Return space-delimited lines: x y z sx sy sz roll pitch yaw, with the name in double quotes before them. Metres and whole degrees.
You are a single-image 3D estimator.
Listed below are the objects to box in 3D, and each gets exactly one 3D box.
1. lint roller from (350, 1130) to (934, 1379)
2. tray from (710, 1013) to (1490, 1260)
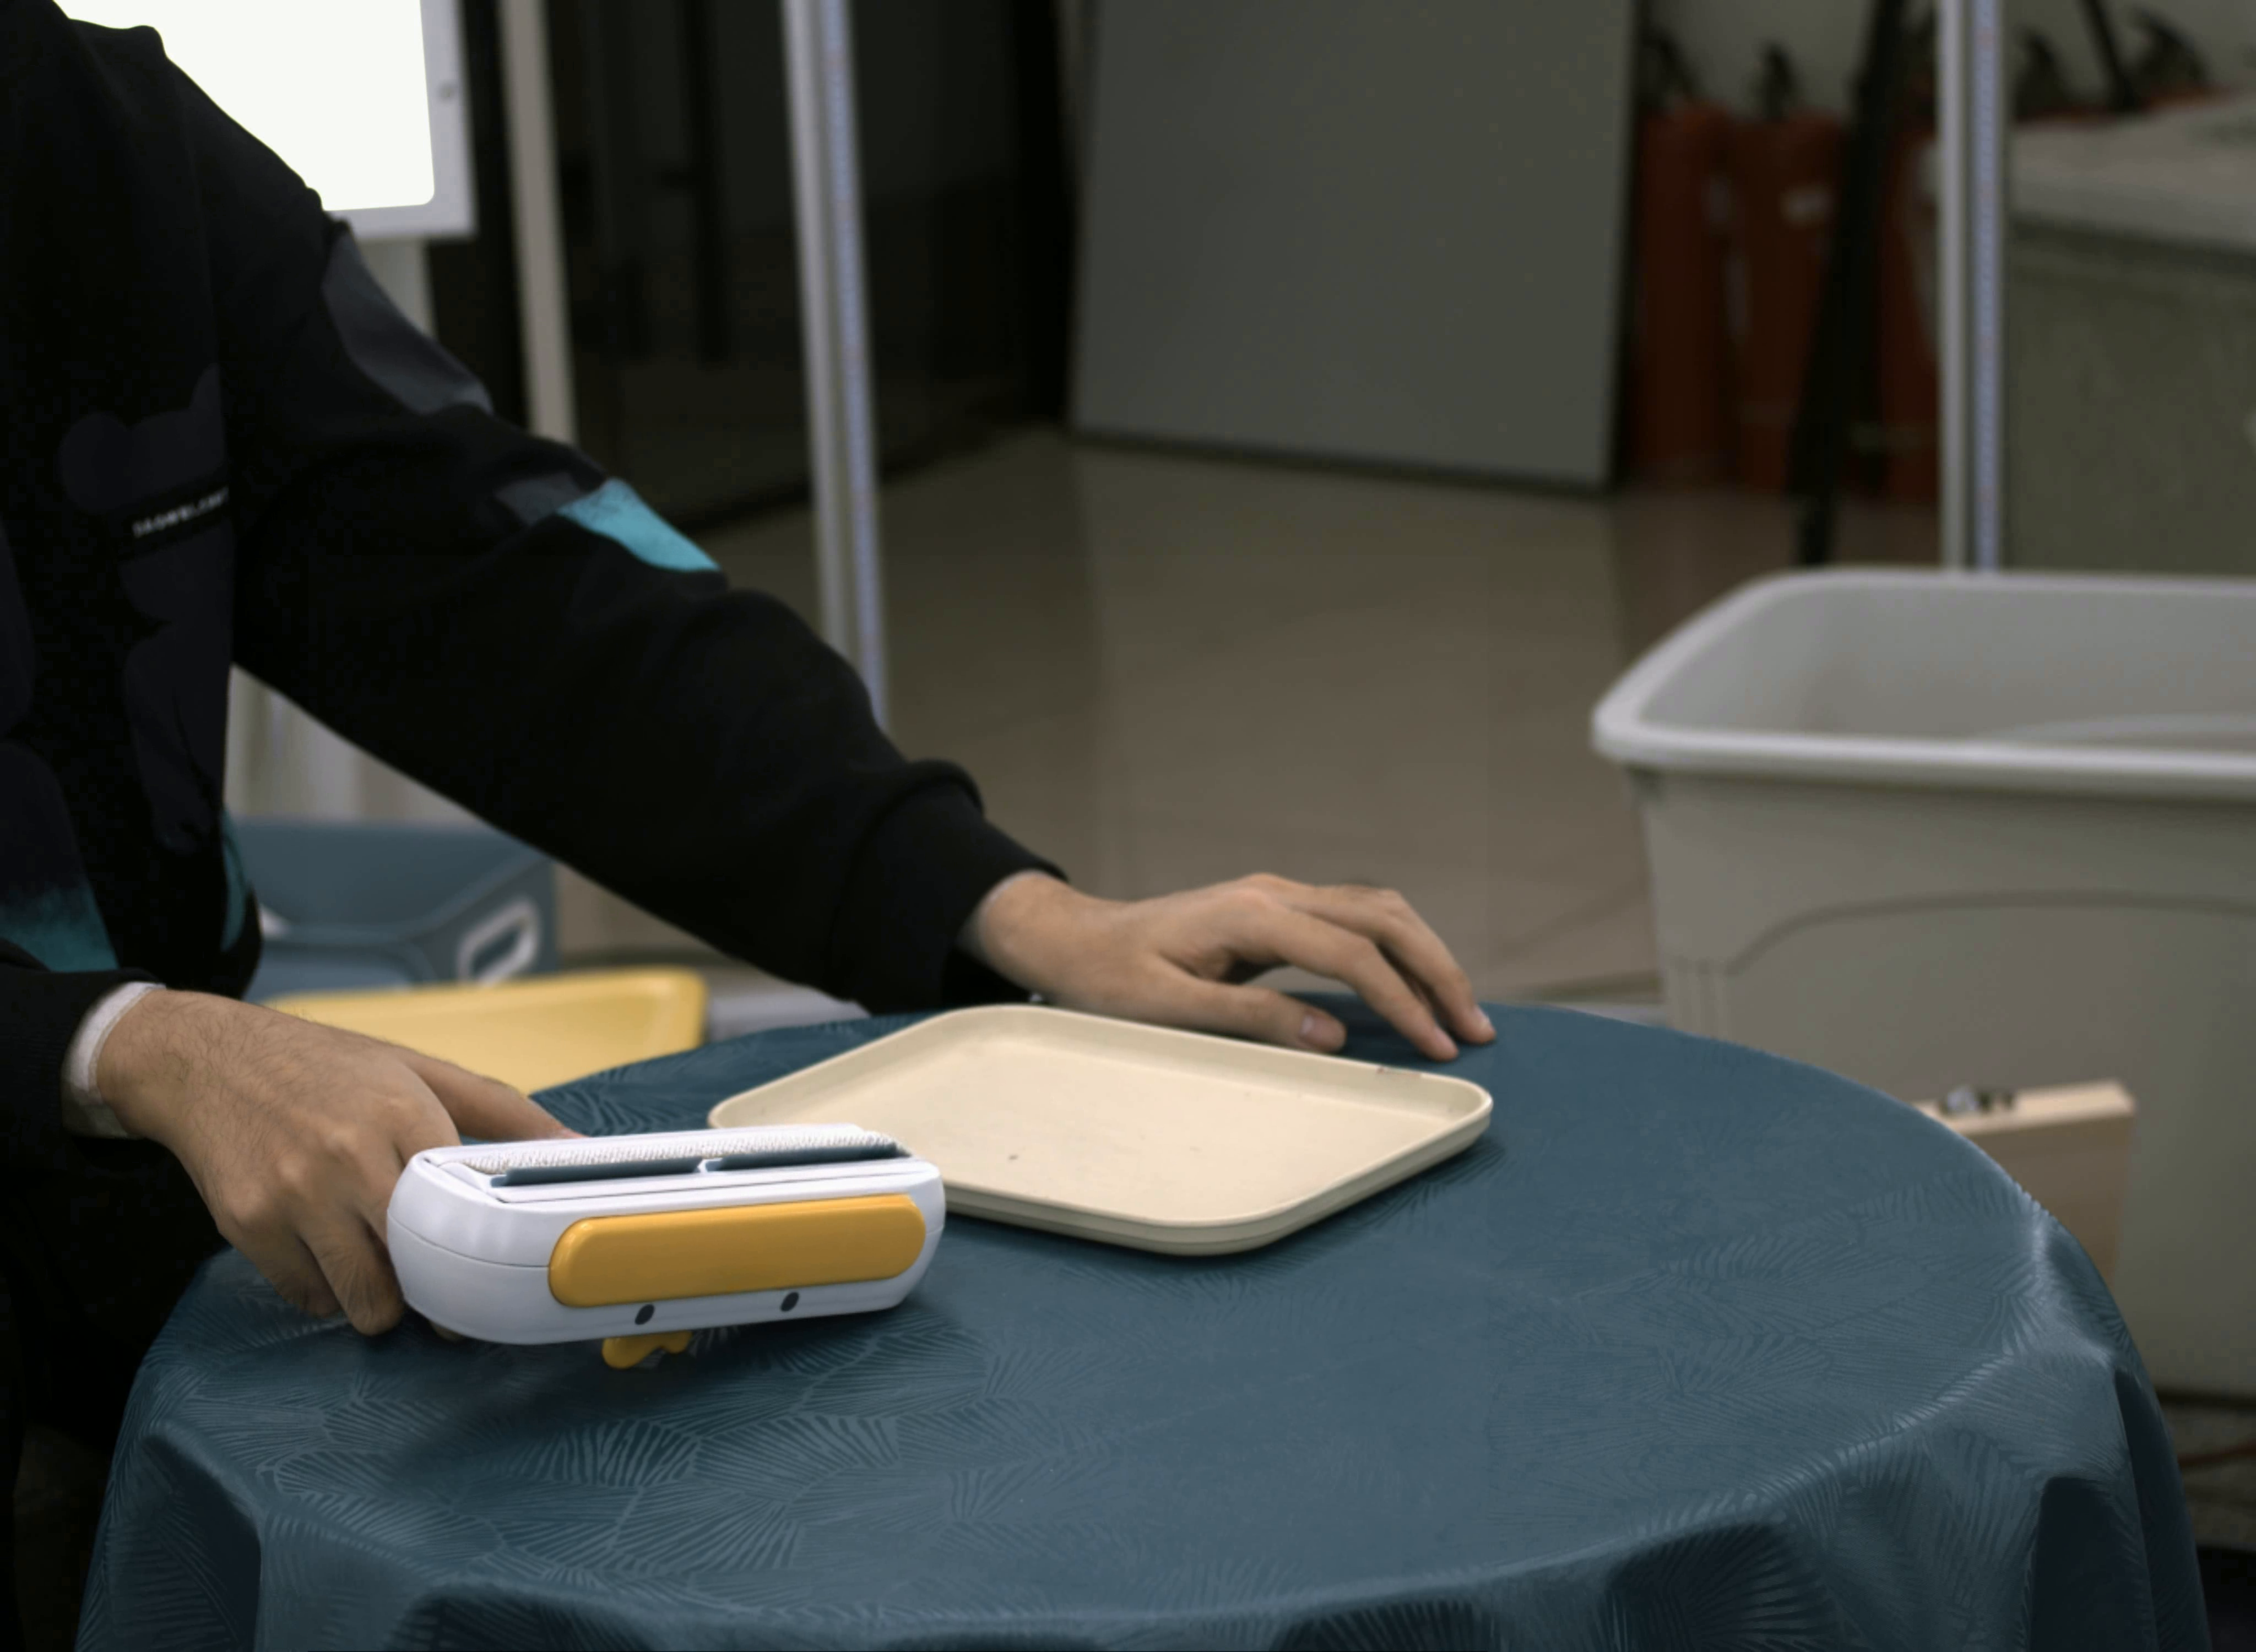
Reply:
"lint roller" -0.180 0.123 1.675 0.188 0.075 0.194 -6 10 -39
"tray" -0.010 0.103 1.811 0.241 0.017 0.168 7 18 39
